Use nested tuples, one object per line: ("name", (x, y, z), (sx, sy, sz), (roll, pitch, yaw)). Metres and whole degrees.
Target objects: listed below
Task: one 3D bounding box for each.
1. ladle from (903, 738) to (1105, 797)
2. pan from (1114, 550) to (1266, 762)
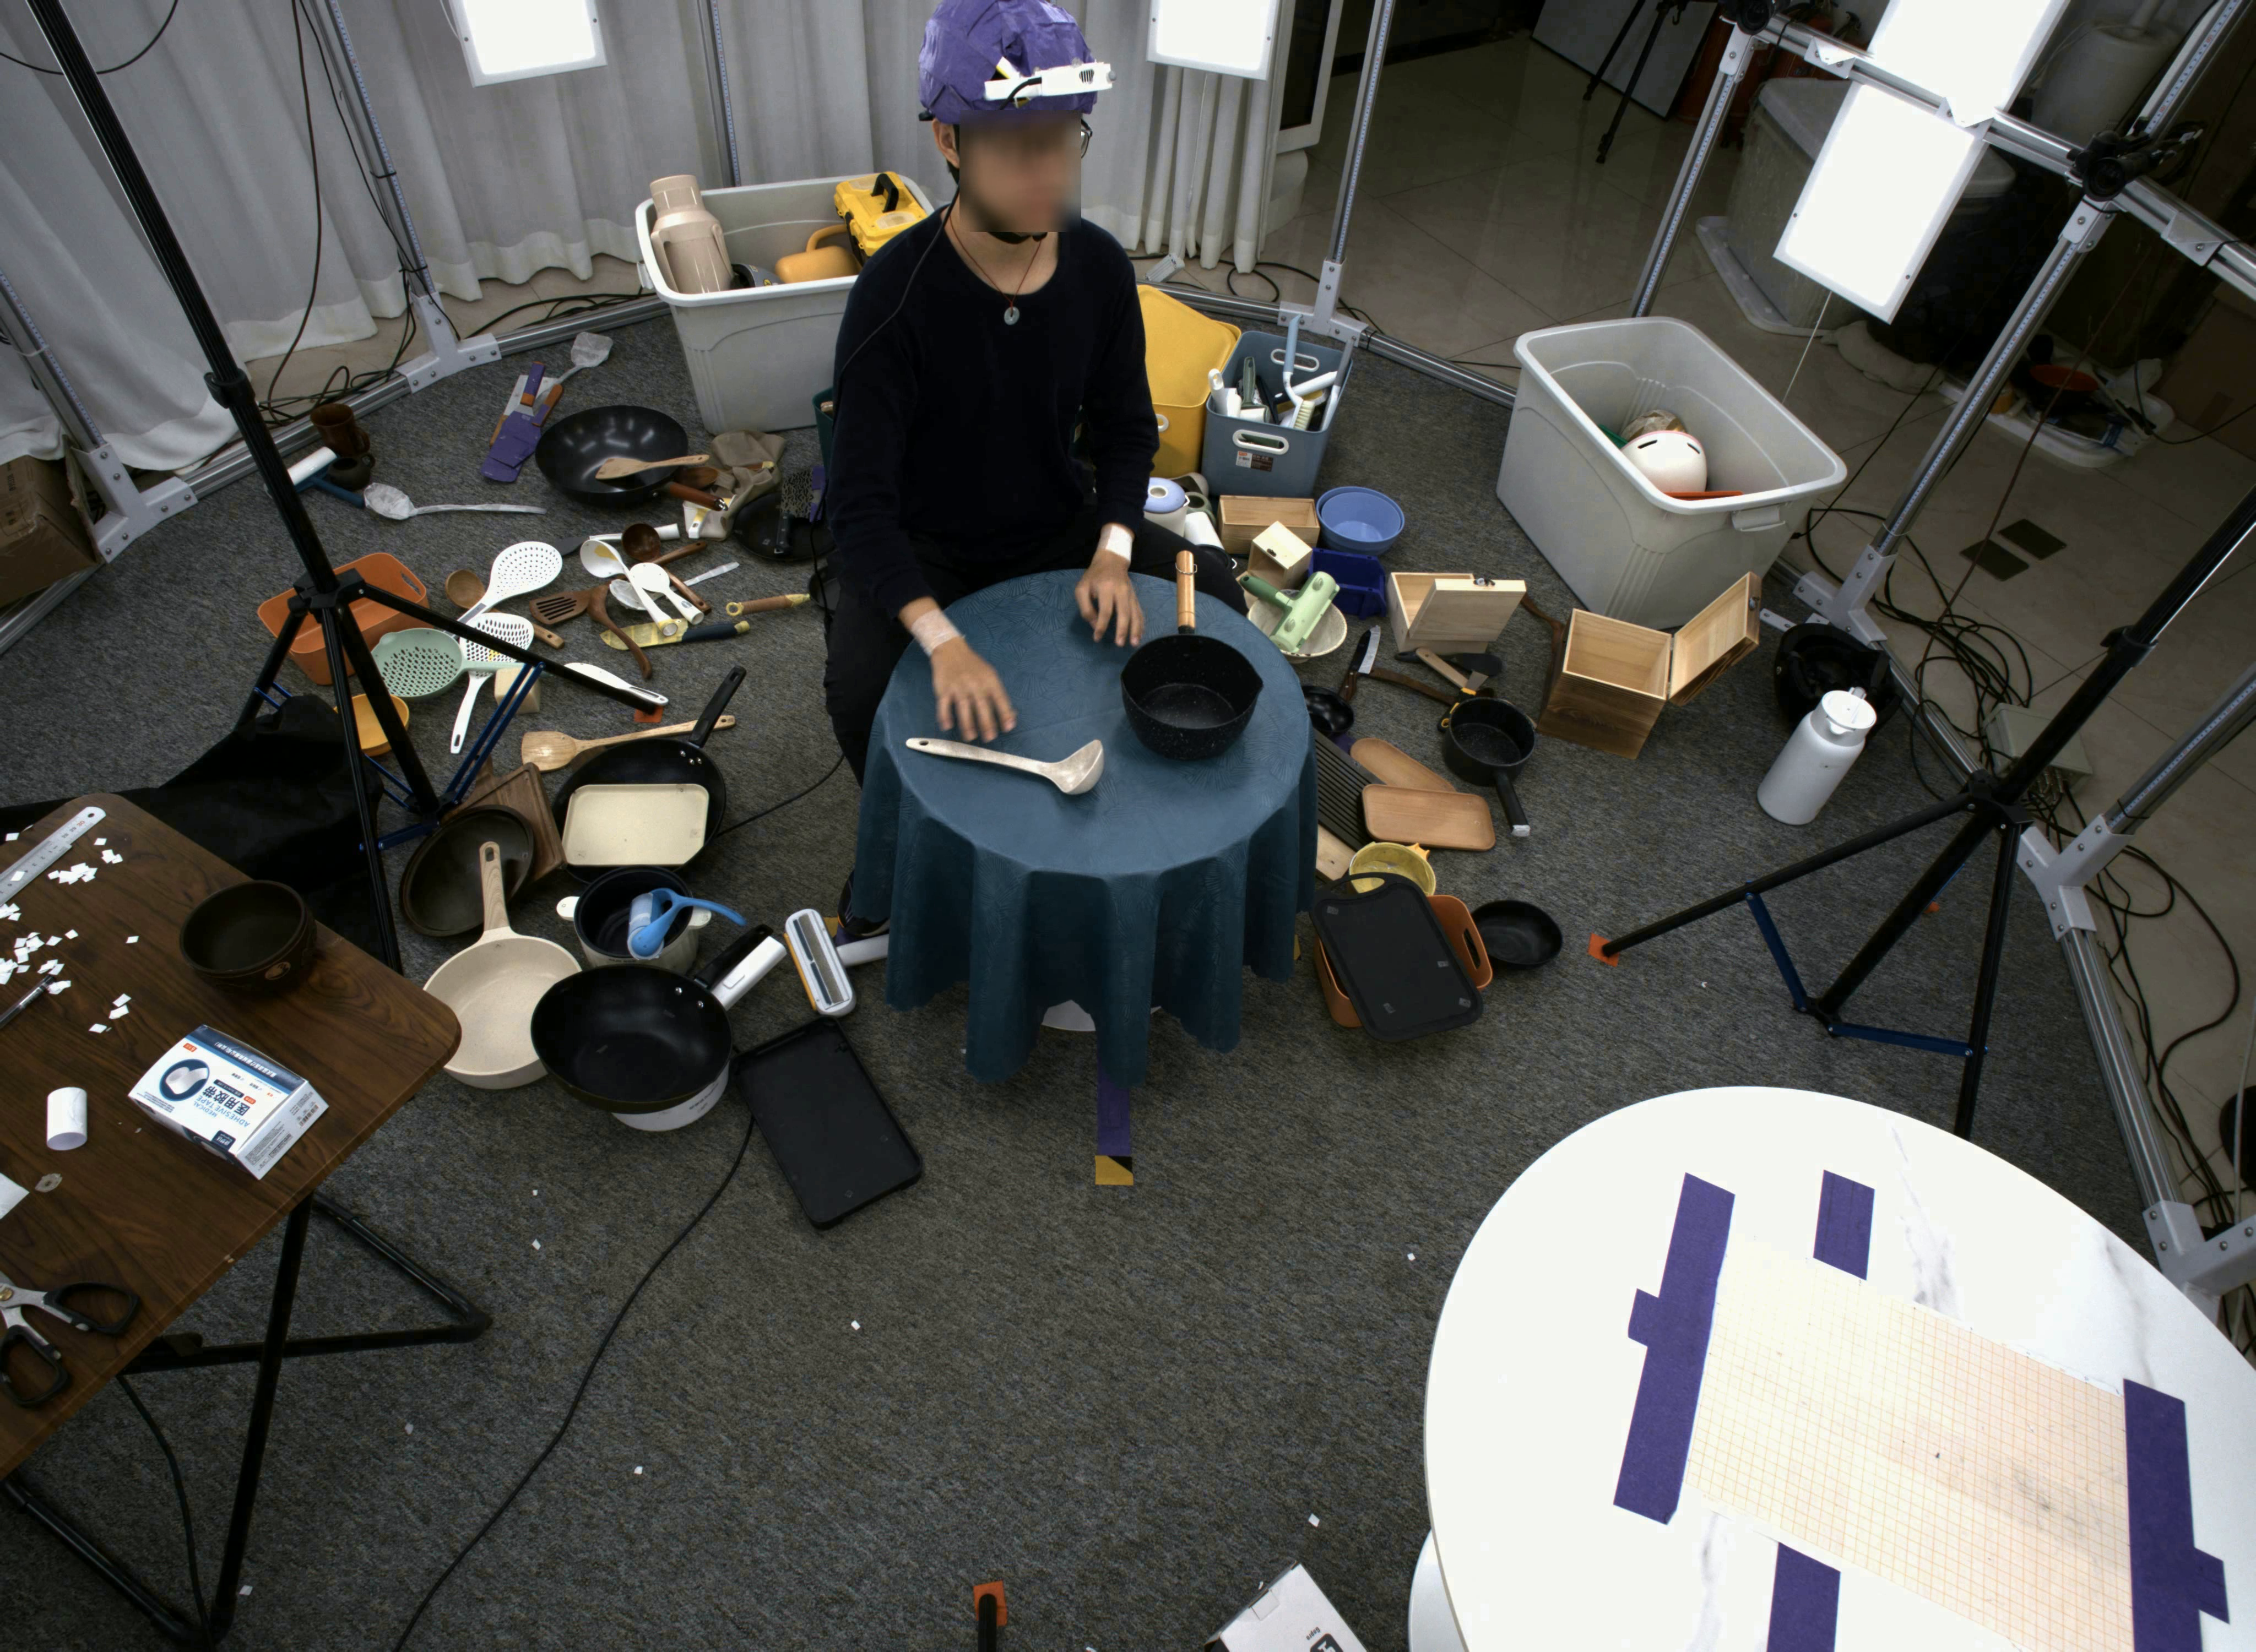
("ladle", (-0.166, -0.100, 1.698), (0.275, 0.068, 0.091), (13, 57, 5))
("pan", (0.081, -0.241, 1.814), (0.207, 0.105, 0.351), (0, 50, -2))
